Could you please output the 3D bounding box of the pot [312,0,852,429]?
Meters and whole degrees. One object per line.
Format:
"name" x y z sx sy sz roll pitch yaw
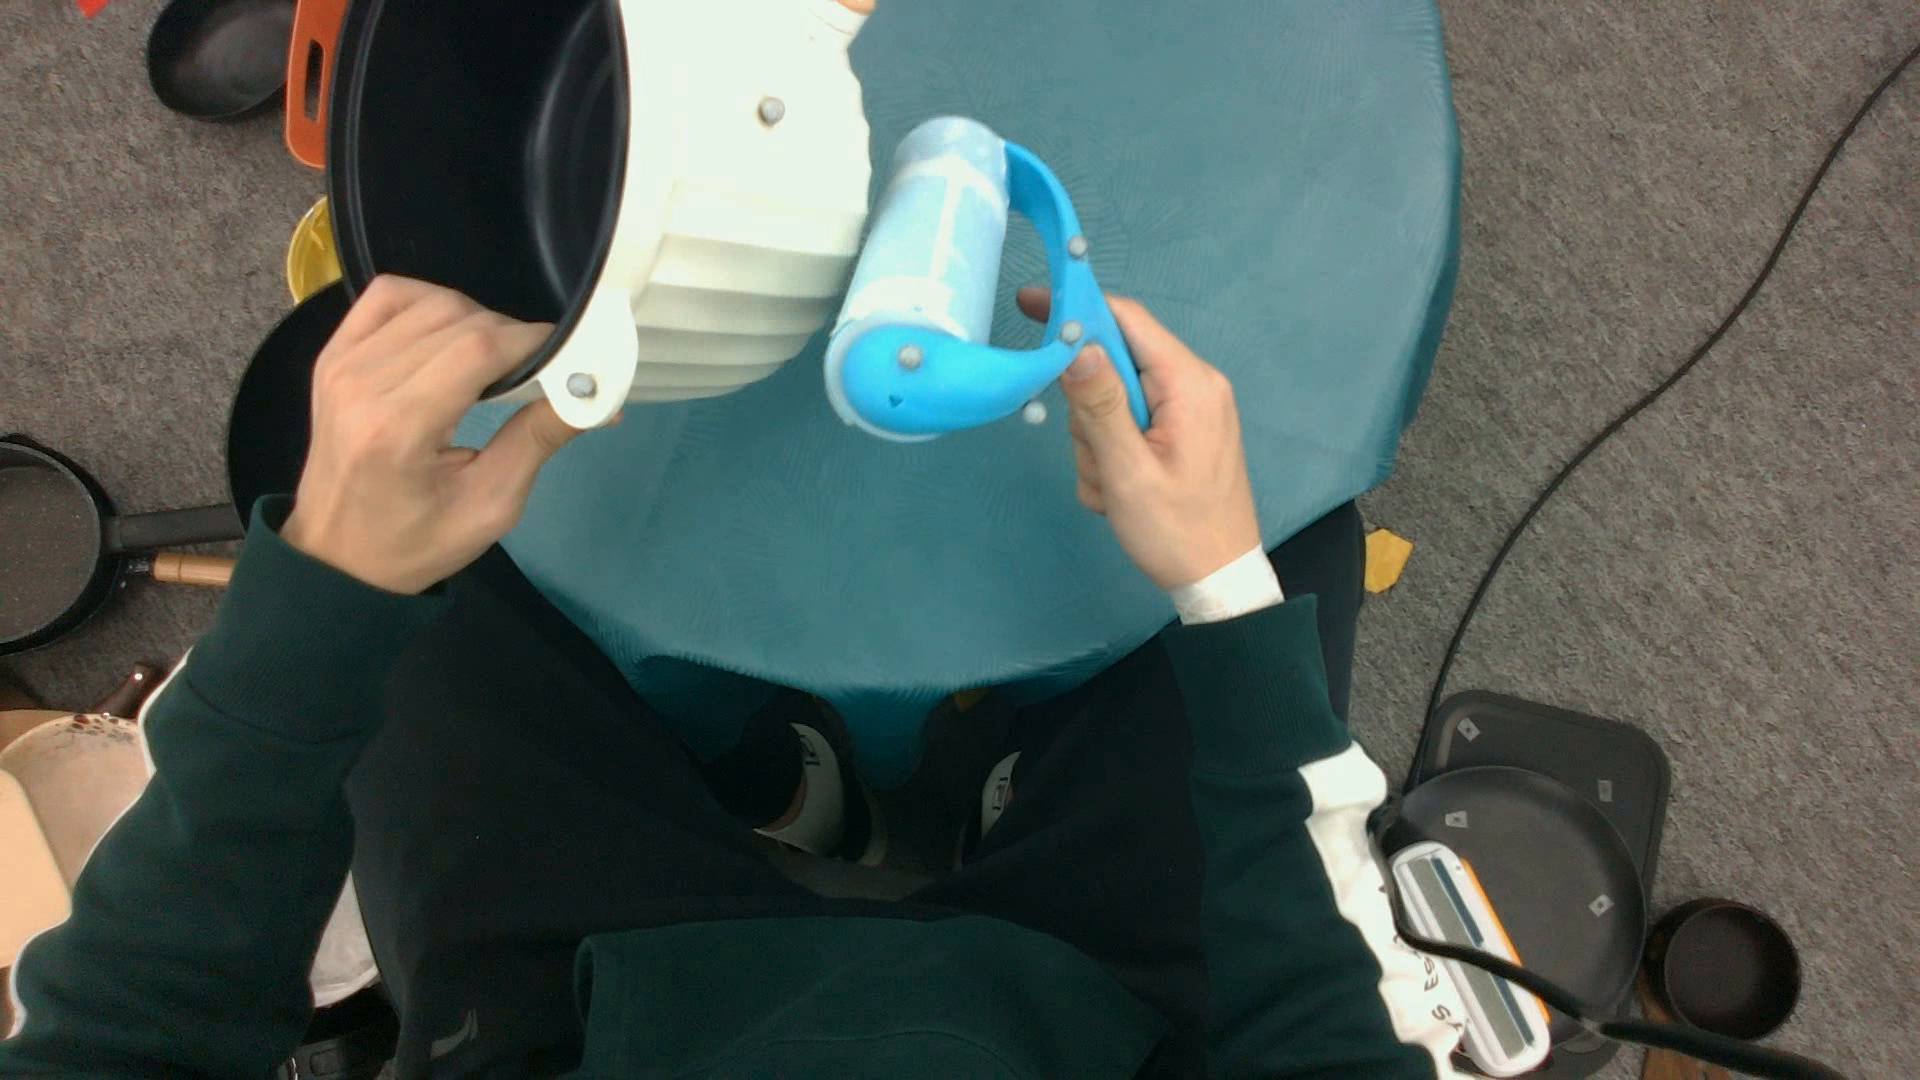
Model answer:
"pot" -0.134 -0.145 0.520 0.189 0.143 0.241 -46 68 35

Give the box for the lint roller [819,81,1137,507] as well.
"lint roller" 0.026 -0.087 0.552 0.180 0.230 0.067 38 117 -25
